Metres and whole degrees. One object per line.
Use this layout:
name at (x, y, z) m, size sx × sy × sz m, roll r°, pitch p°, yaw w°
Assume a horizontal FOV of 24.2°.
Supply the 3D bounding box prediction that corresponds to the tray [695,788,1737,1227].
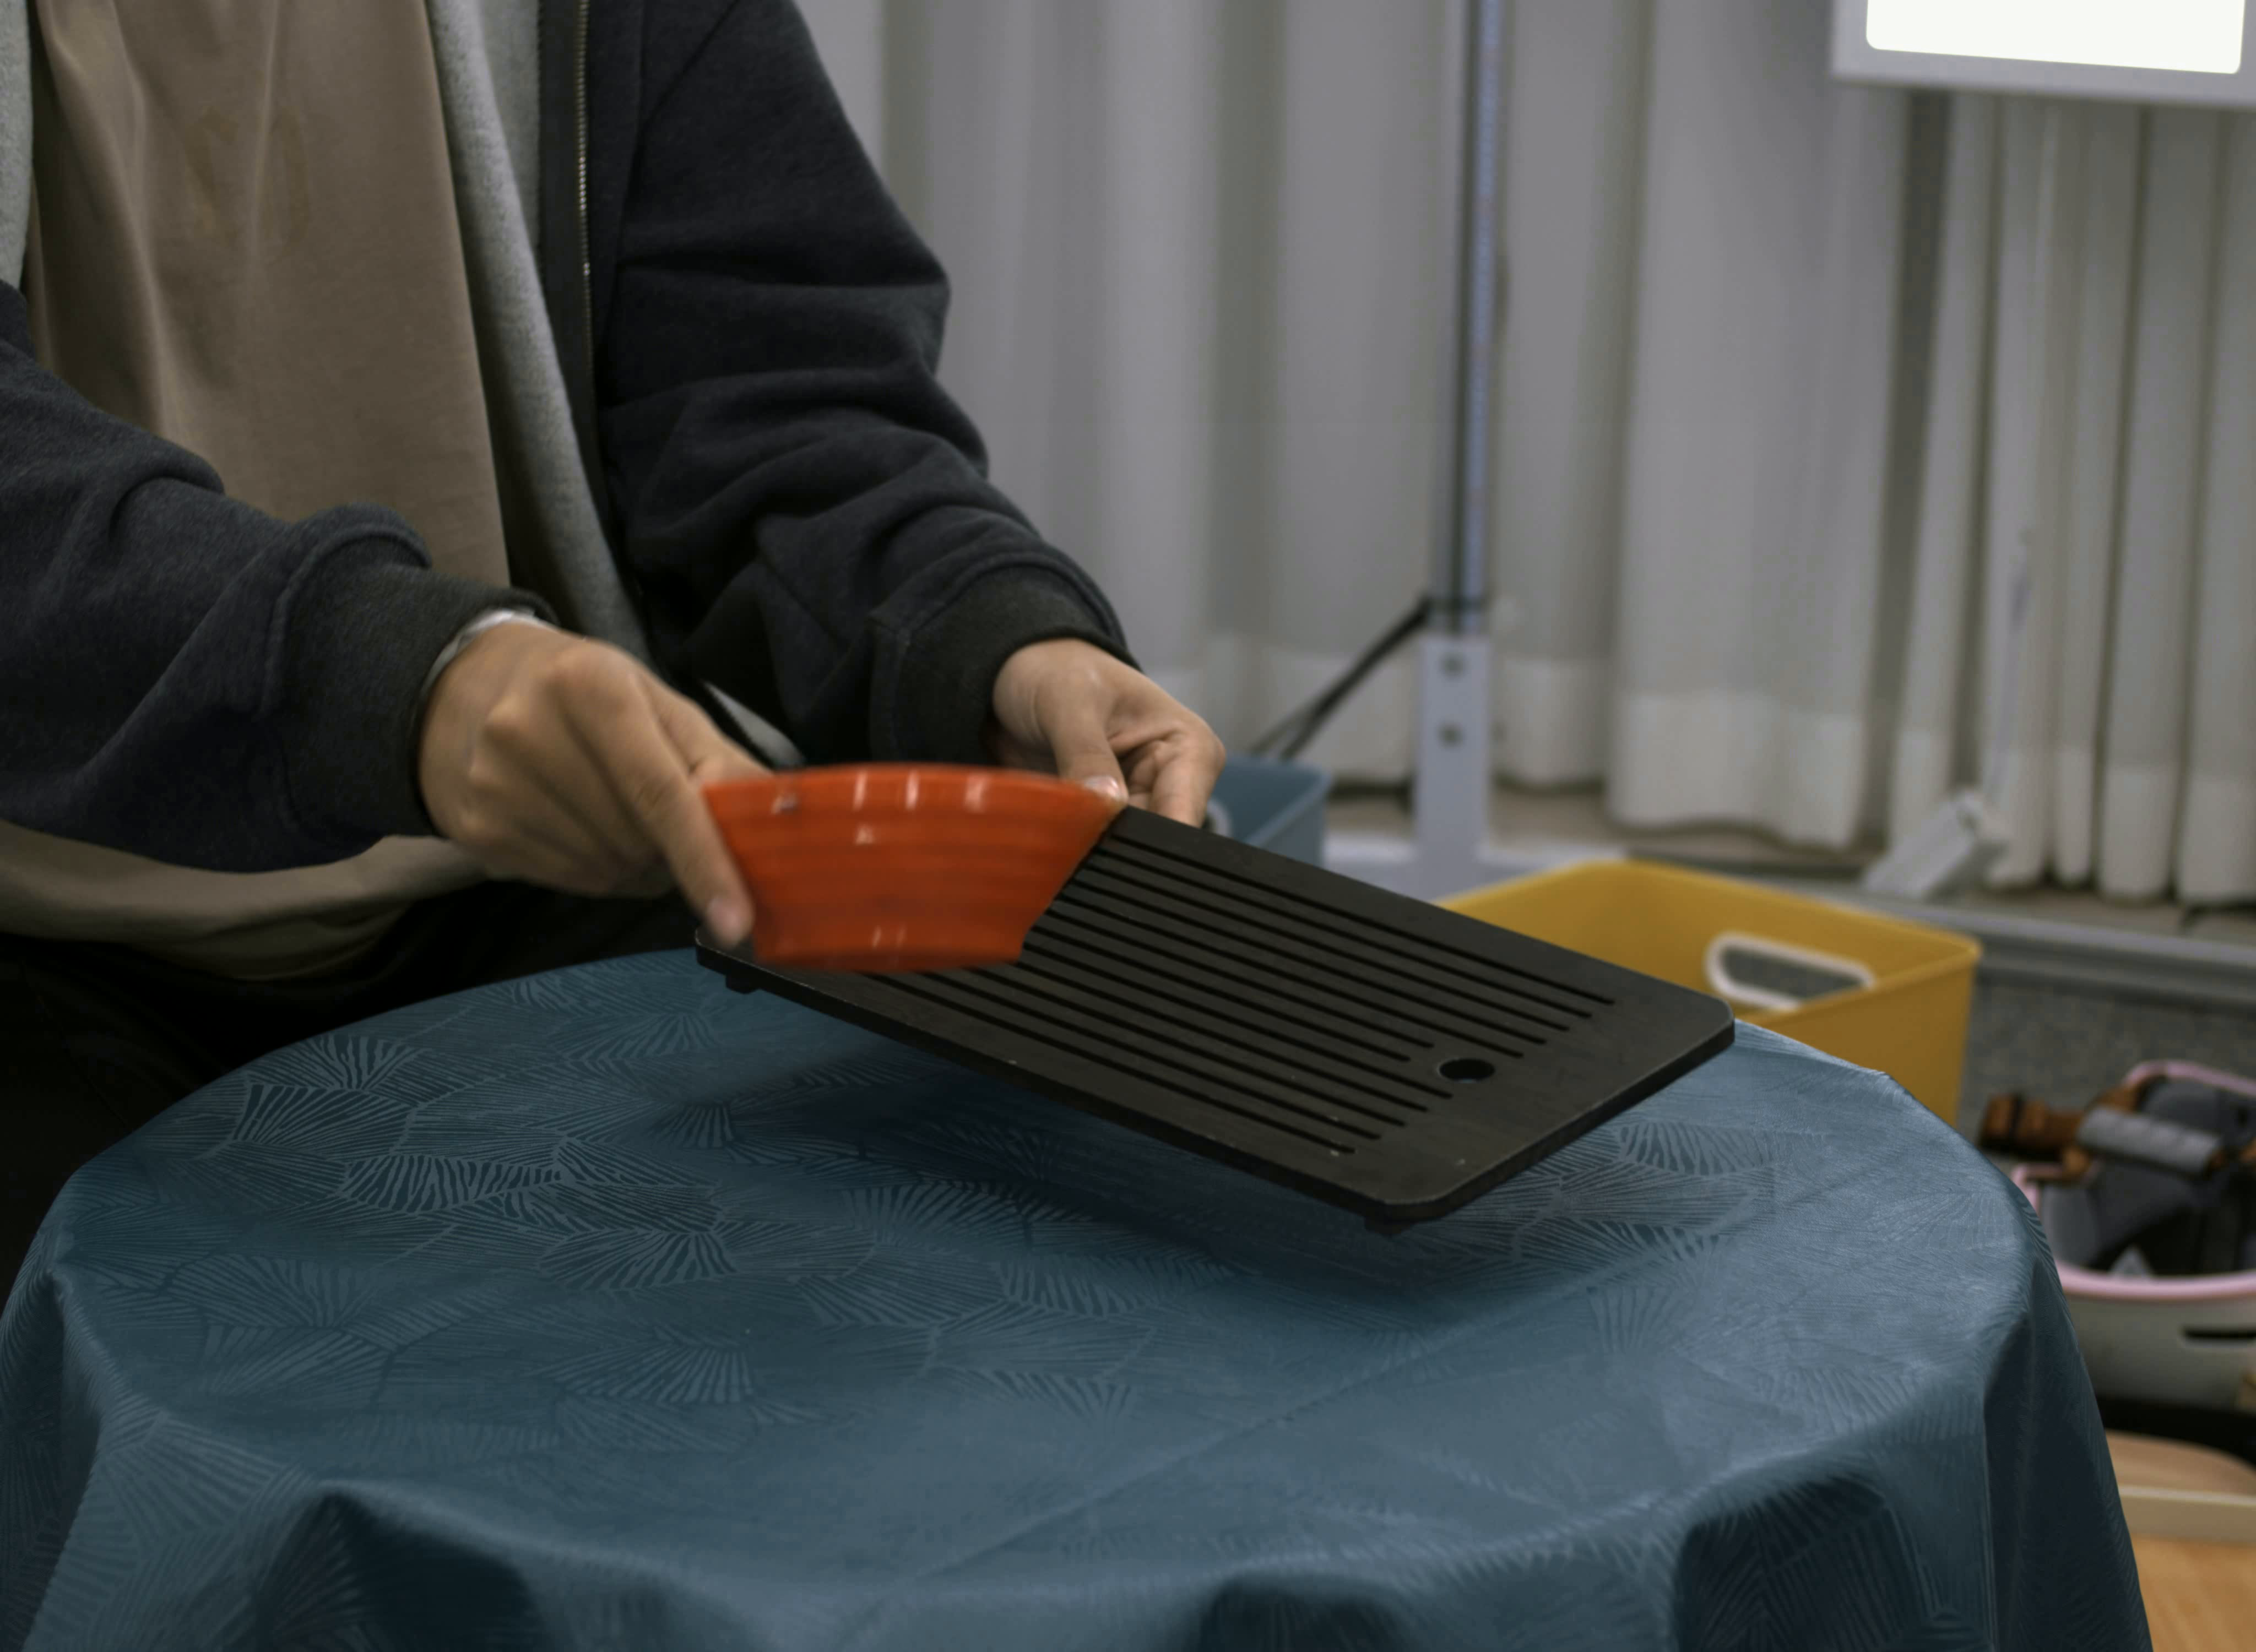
tray at (0.024, 0.051, 1.660) m, size 0.302 × 0.019 × 0.170 m, roll 18°, pitch 30°, yaw 37°

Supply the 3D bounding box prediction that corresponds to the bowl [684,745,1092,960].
bowl at (-0.069, 0.010, 1.523) m, size 0.118 × 0.051 × 0.119 m, roll -1°, pitch -7°, yaw 0°
